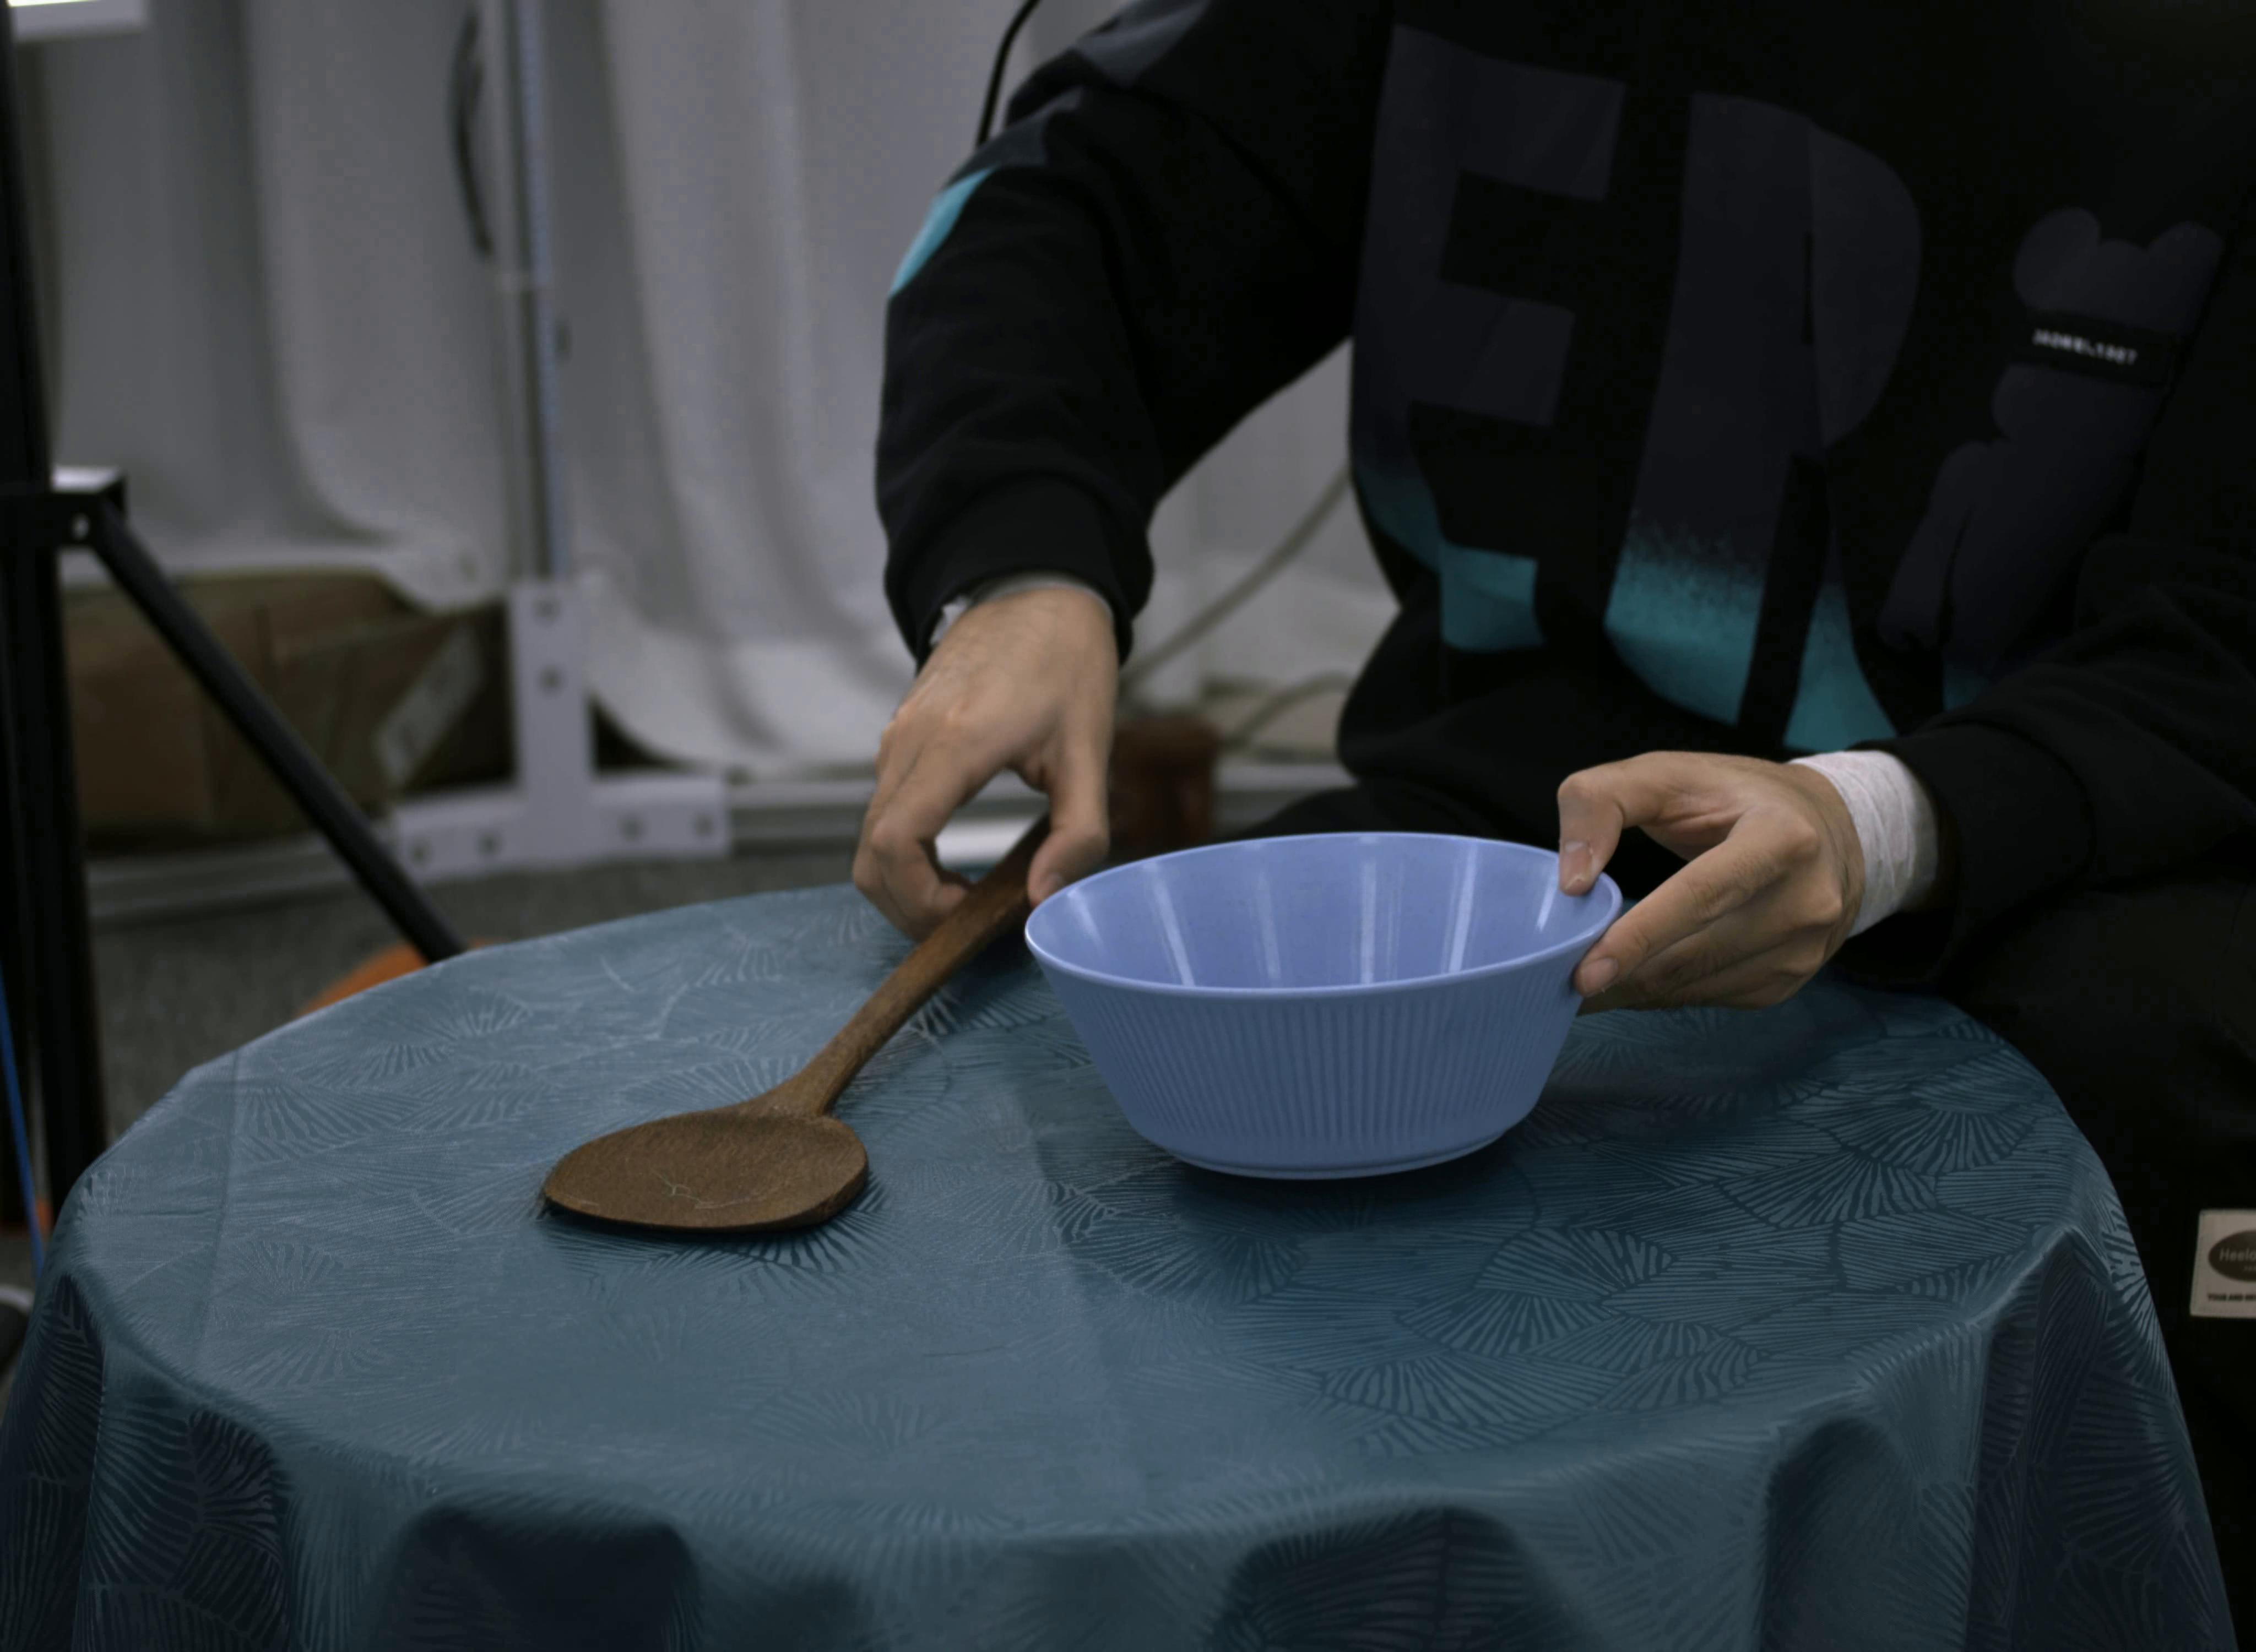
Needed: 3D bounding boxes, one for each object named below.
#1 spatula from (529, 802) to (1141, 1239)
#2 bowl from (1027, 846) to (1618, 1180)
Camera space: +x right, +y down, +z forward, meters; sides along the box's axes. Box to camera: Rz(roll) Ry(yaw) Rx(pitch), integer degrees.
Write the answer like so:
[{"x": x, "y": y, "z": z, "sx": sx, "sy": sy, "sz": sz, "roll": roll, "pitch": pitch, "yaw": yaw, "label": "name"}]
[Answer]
[{"x": -0.071, "y": 0.055, "z": 1.704, "sx": 0.097, "sy": 0.016, "sz": 0.381, "roll": 4, "pitch": 21, "yaw": 21, "label": "spatula"}, {"x": 0.059, "y": 0.057, "z": 1.573, "sx": 0.175, "sy": 0.070, "sz": 0.177, "roll": -3, "pitch": 13, "yaw": -1, "label": "bowl"}]
